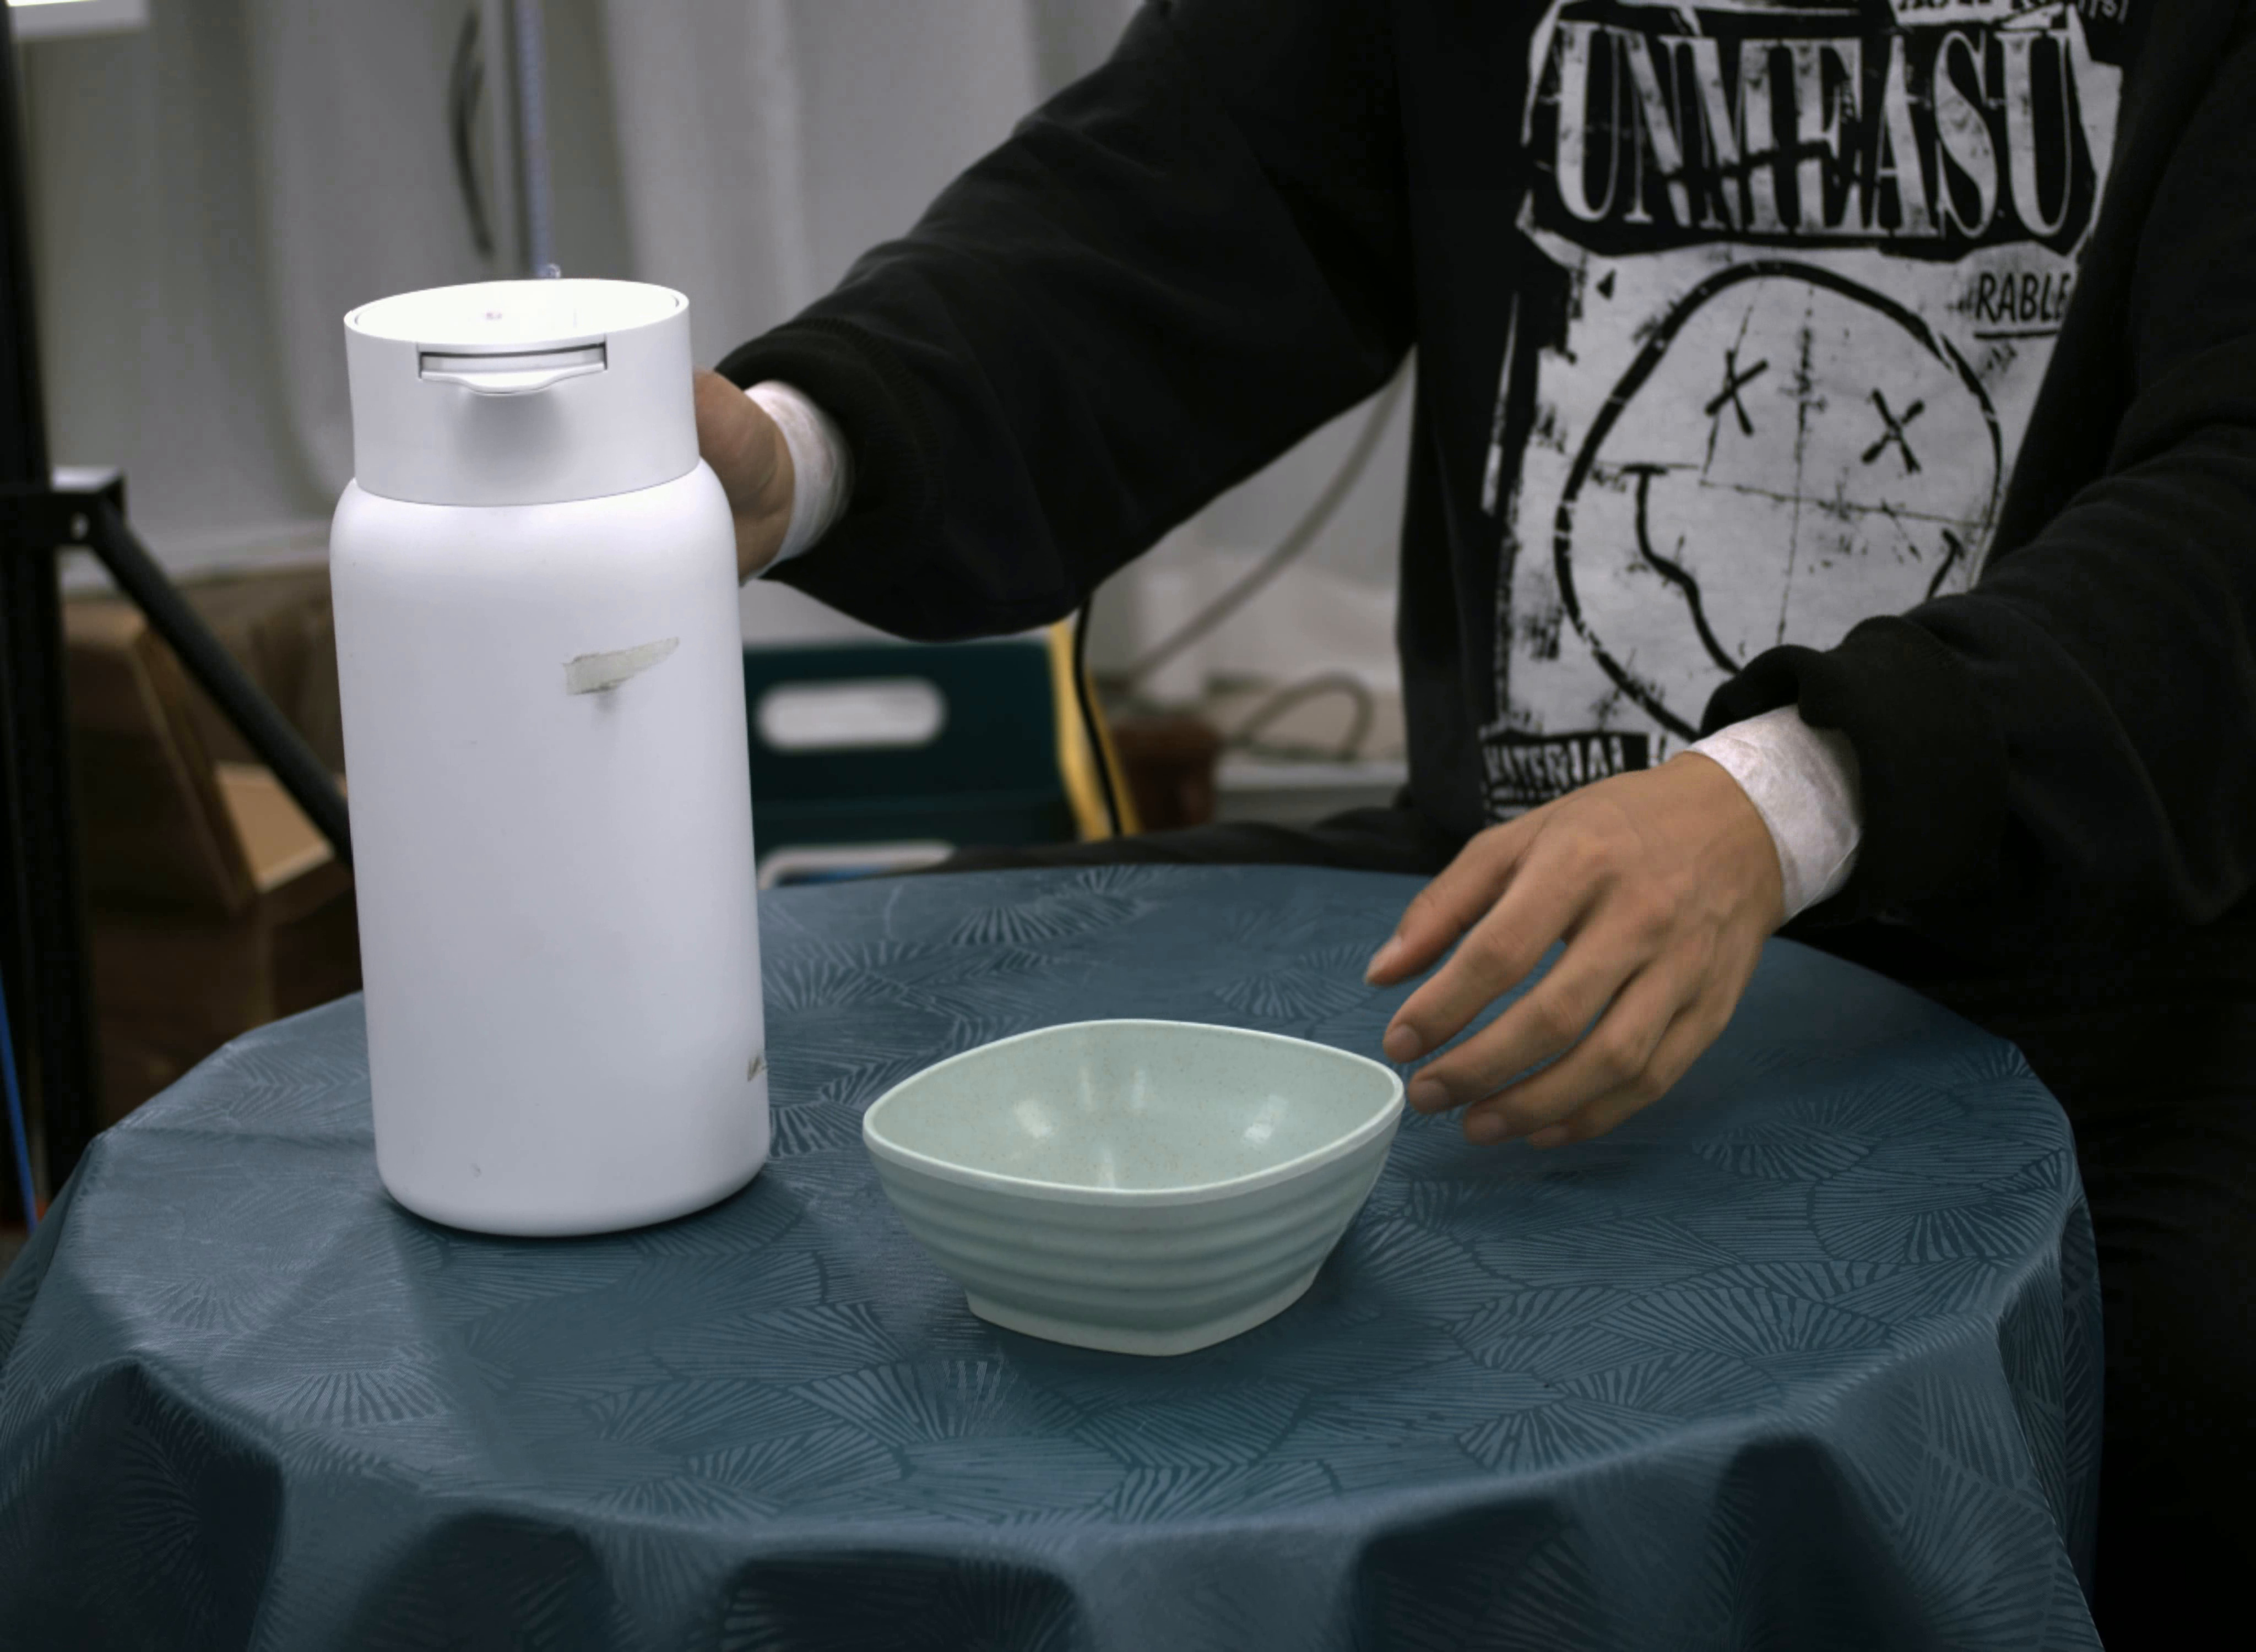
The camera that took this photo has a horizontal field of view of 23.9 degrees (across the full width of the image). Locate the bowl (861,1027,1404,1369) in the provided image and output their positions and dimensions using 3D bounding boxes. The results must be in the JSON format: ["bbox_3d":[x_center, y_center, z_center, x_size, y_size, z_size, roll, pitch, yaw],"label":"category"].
[{"bbox_3d":[0.002,0.106,1.467,0.150,0.058,0.152,-2,15,-1],"label":"bowl"}]

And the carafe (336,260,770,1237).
[{"bbox_3d":[-0.171,-0.027,1.572,0.123,0.269,0.174,-5,15,-3],"label":"carafe"}]
